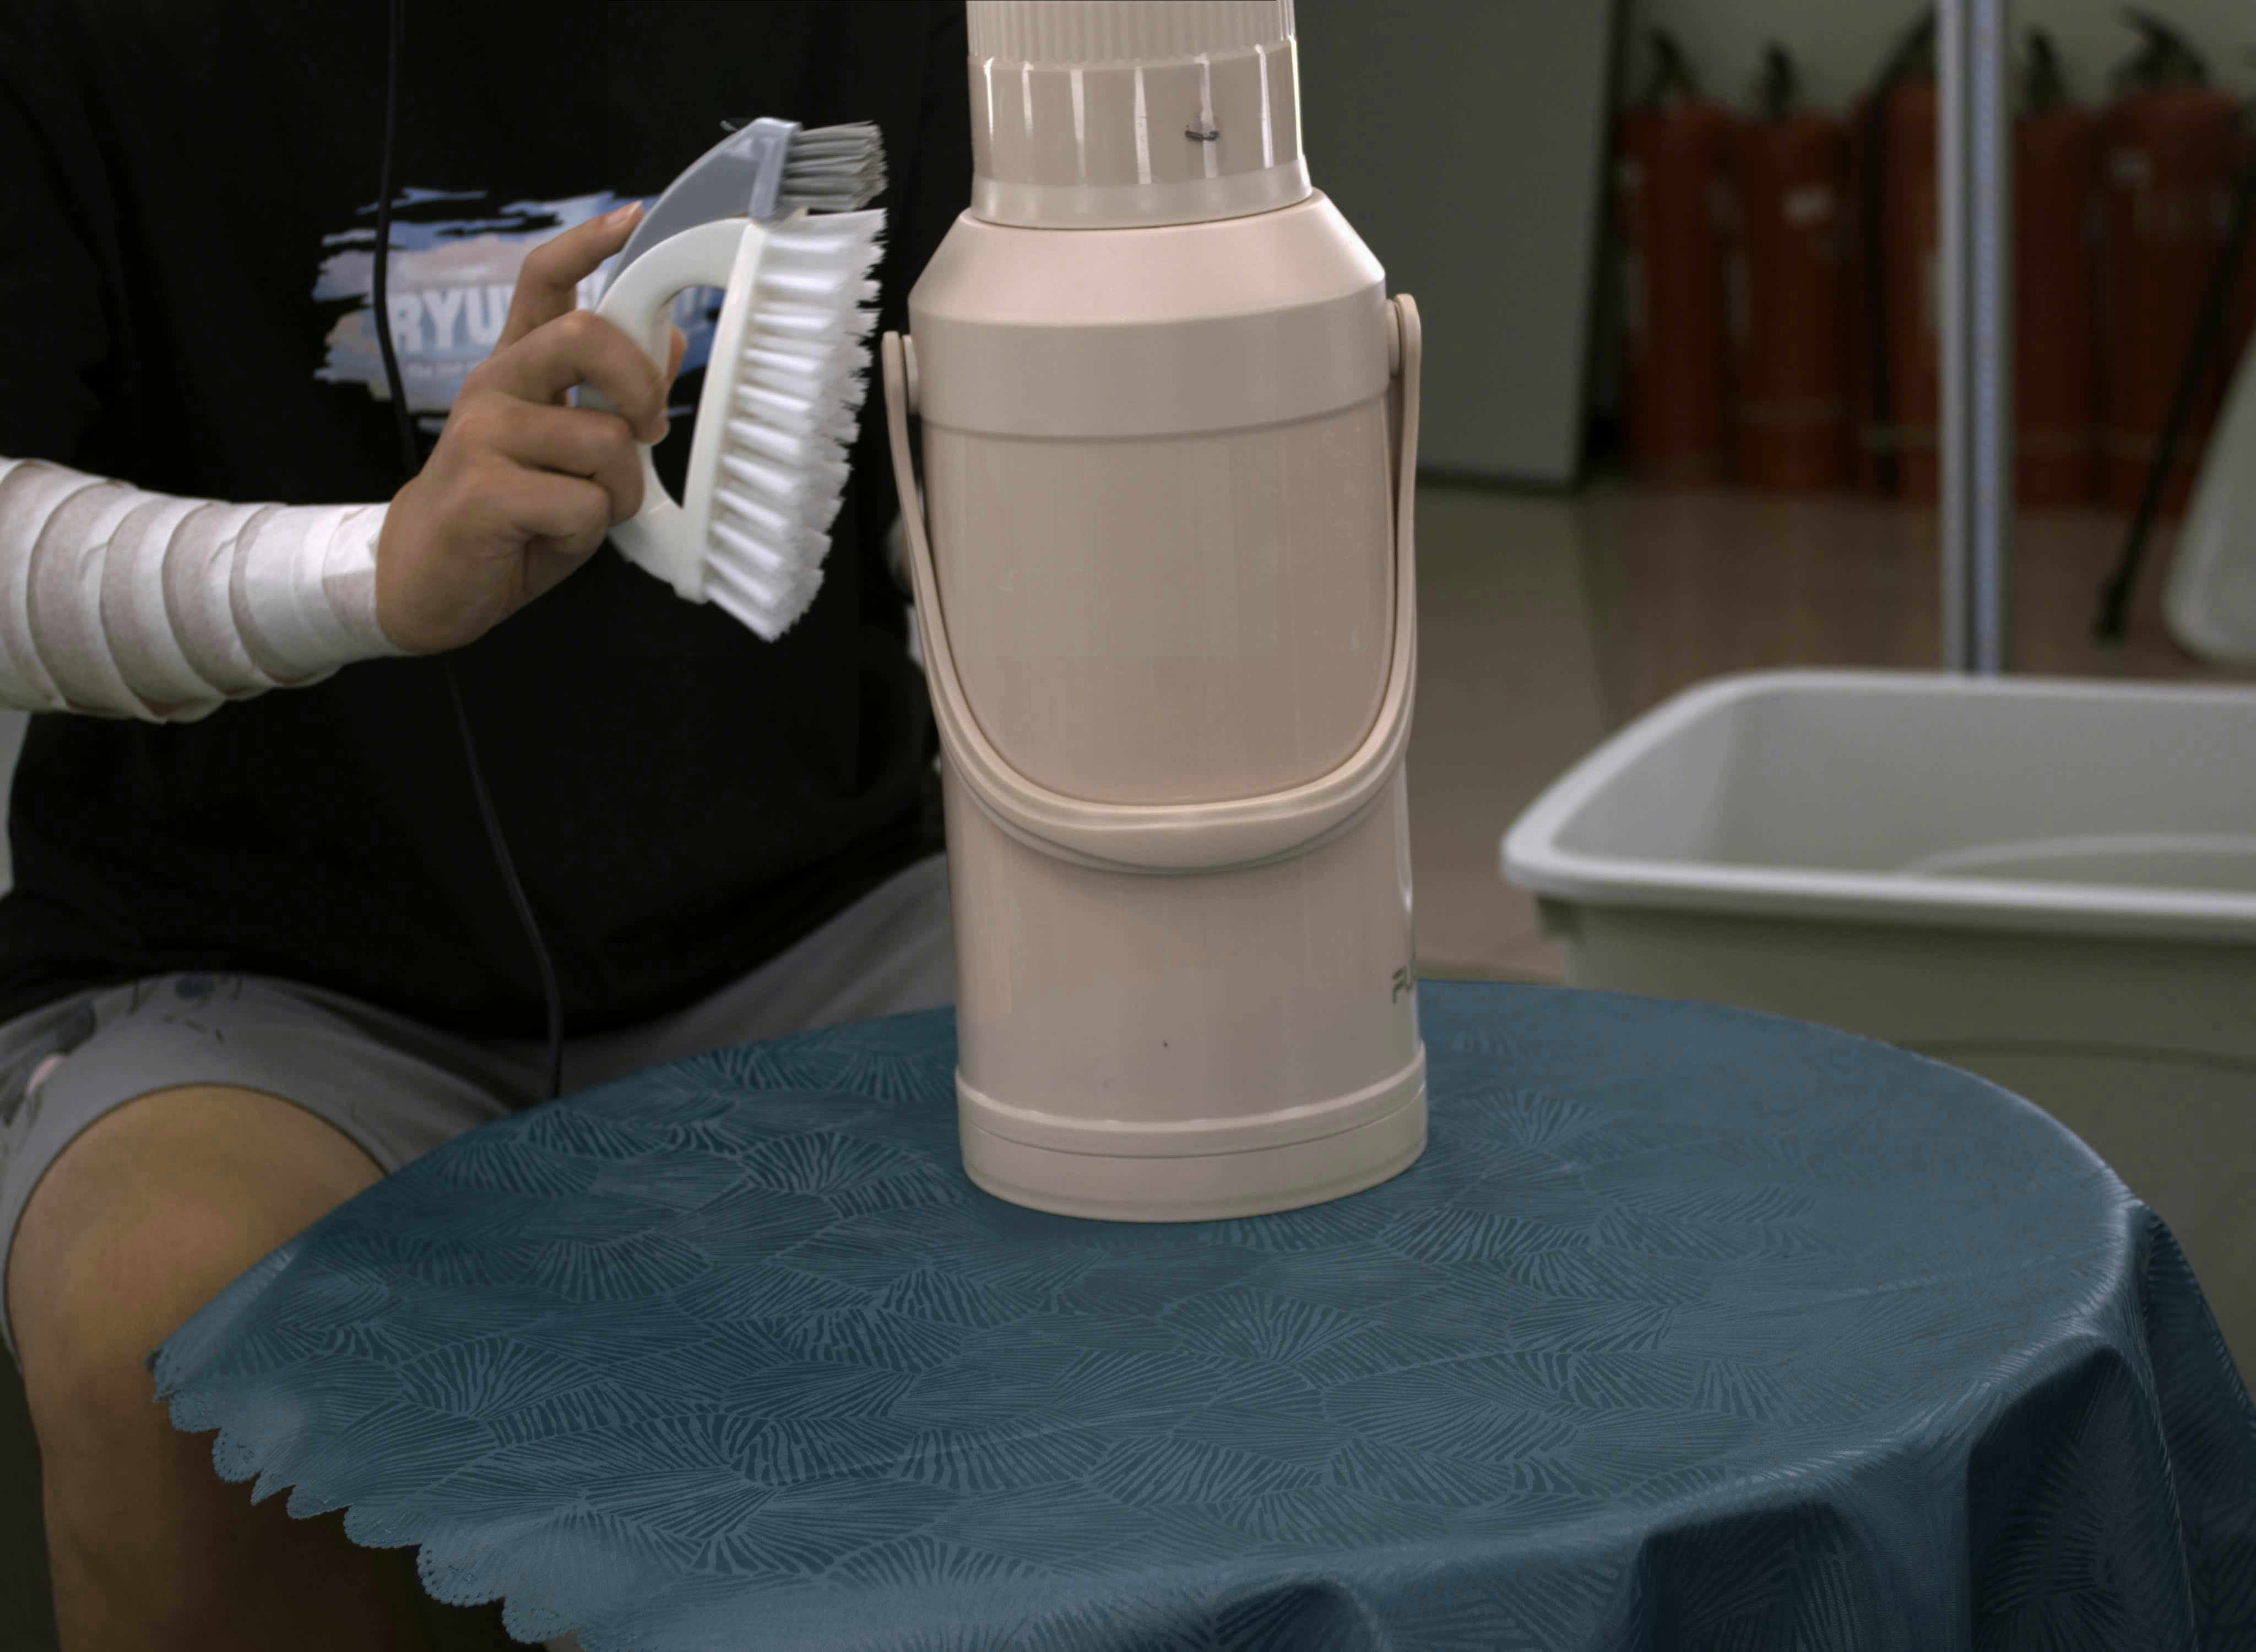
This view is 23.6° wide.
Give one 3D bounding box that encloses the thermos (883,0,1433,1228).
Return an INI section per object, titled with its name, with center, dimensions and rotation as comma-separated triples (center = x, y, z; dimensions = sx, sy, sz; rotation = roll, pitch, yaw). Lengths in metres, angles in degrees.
[thermos]
center = 0.012, -0.087, 1.781
dimensions = 0.173, 0.411, 0.208
rotation = -6, 13, -4

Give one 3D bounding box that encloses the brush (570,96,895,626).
[brush]
center = -0.130, -0.161, 1.762
dimensions = 0.094, 0.177, 0.061
rotation = 19, 27, 9
